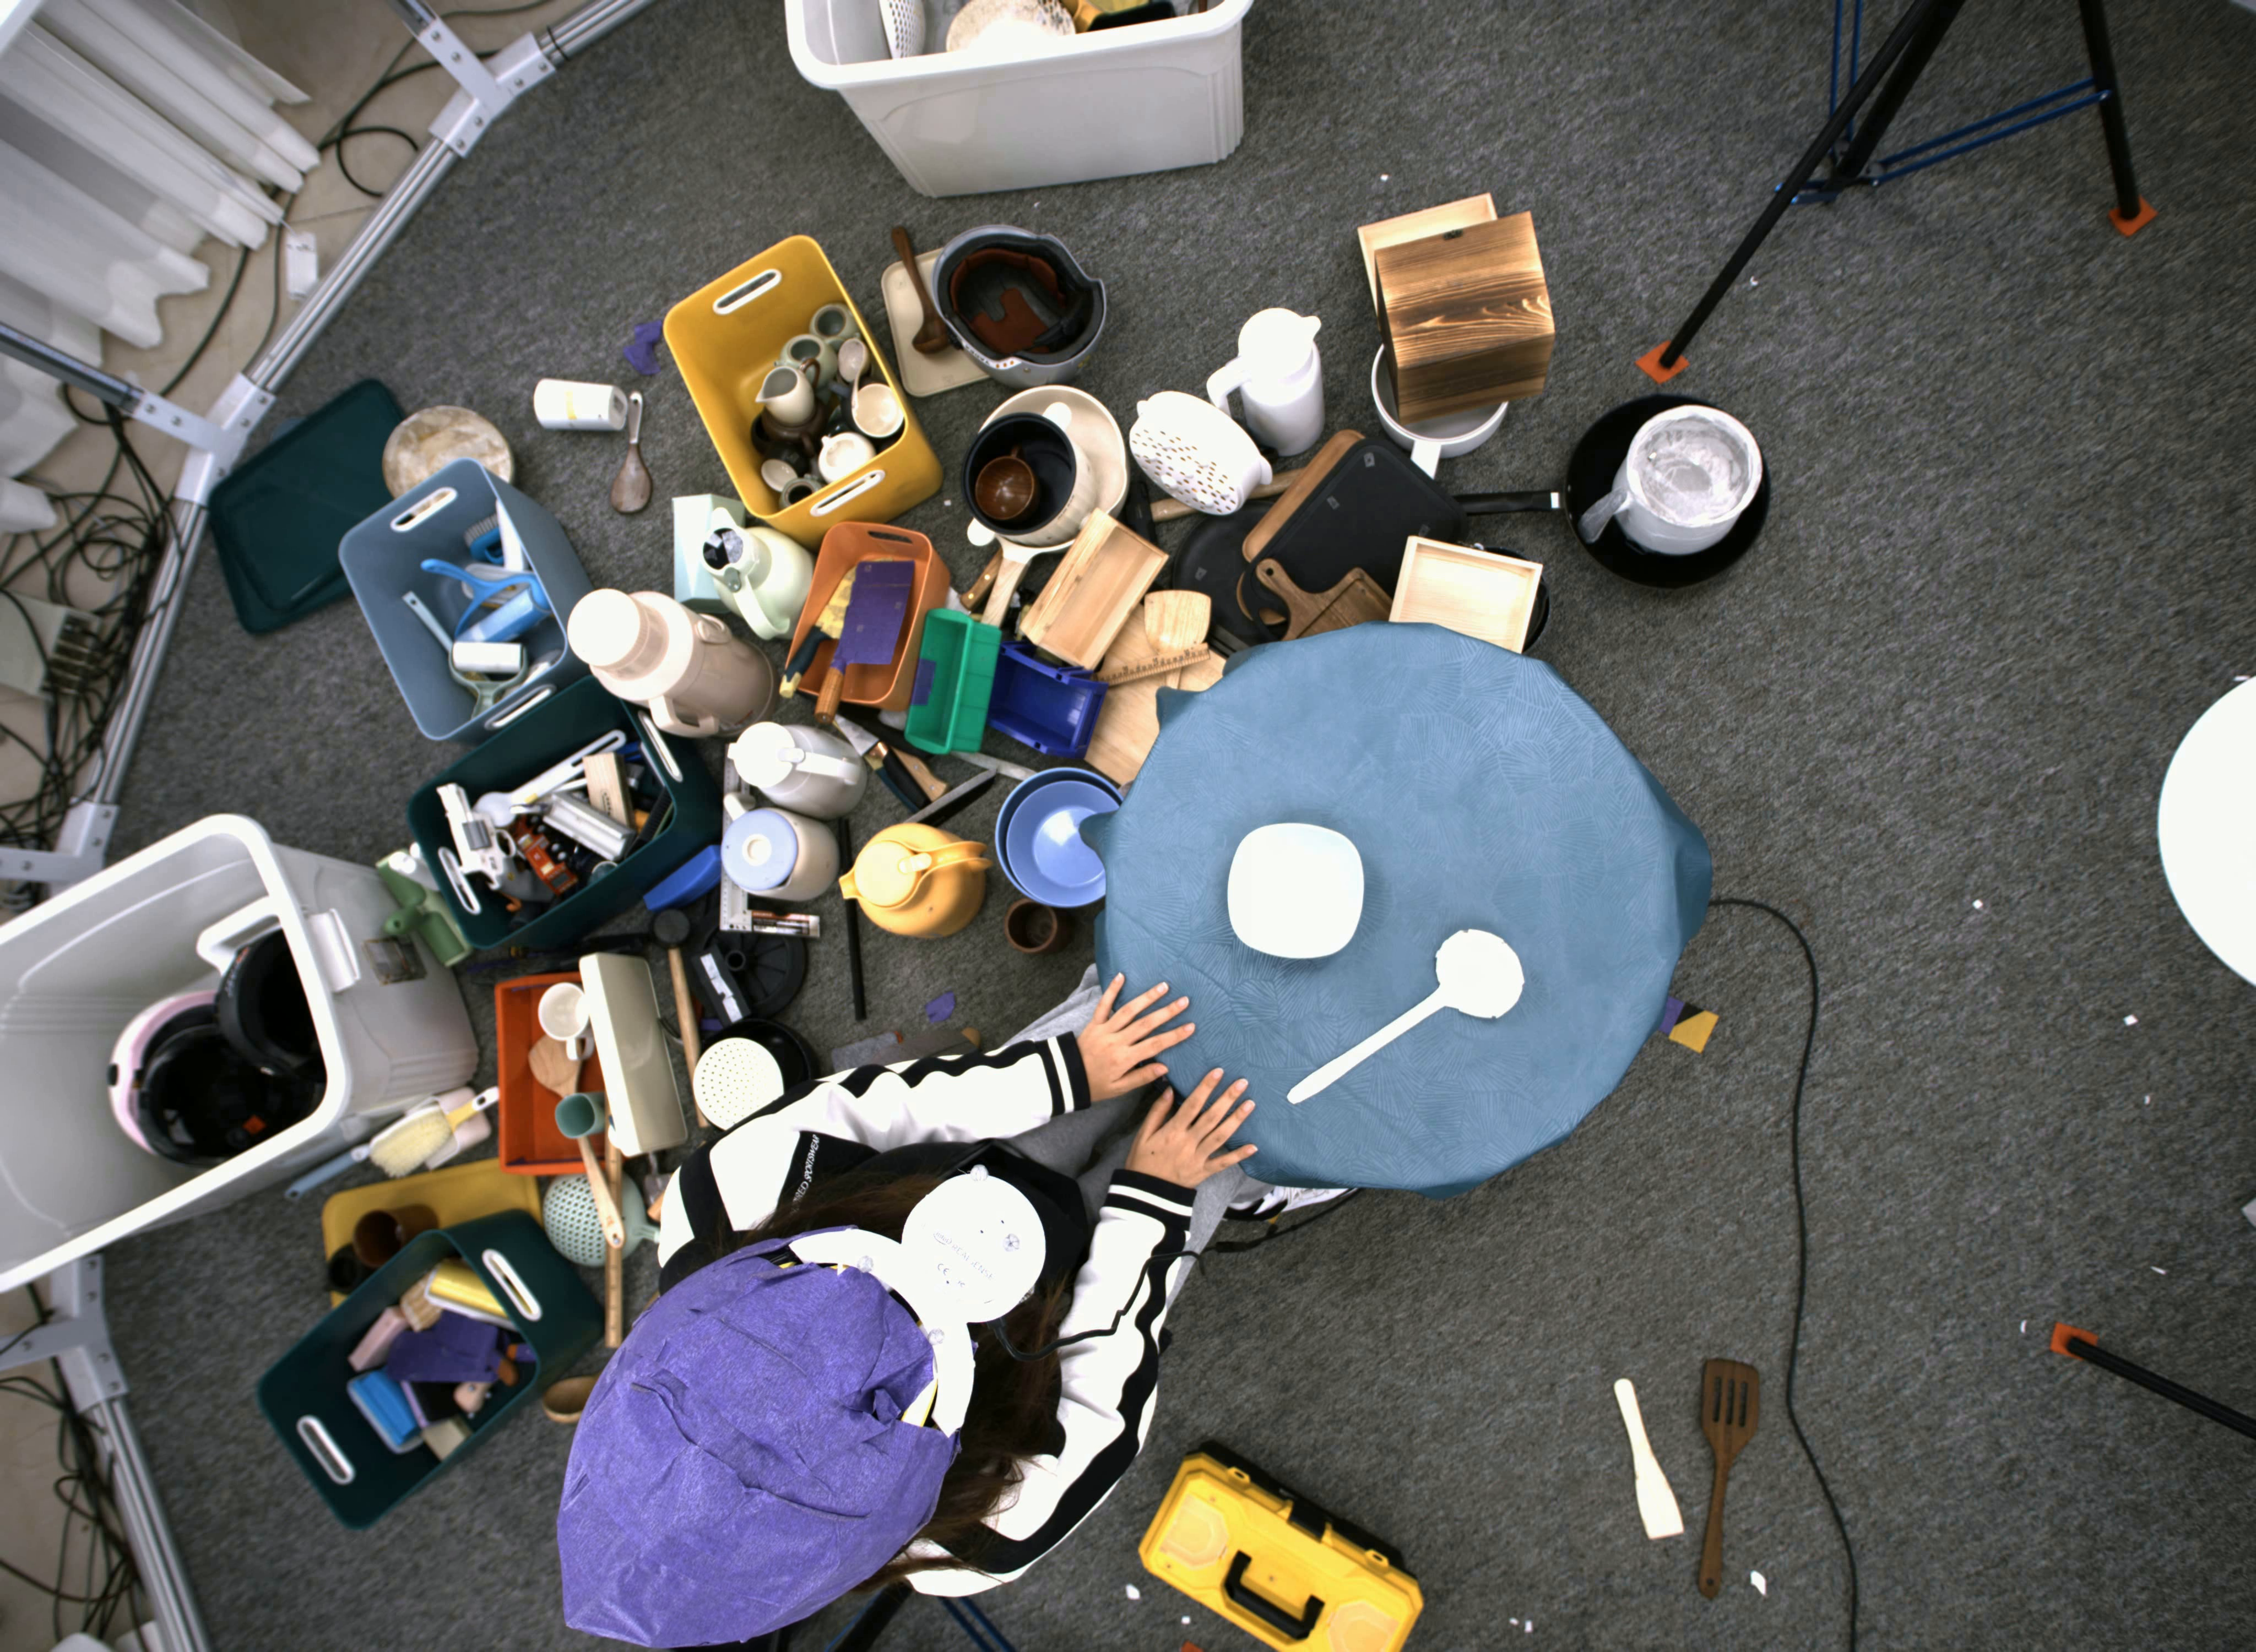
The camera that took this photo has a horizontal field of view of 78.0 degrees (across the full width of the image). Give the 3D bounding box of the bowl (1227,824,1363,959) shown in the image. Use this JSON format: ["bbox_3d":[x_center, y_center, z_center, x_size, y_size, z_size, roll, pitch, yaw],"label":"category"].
[{"bbox_3d":[0.176,0.069,1.451,0.152,0.058,0.151,-1,86,10],"label":"bowl"}]

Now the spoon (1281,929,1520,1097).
[{"bbox_3d":[0.272,0.199,1.424,0.279,0.059,0.100,-32,76,7],"label":"spoon"}]
